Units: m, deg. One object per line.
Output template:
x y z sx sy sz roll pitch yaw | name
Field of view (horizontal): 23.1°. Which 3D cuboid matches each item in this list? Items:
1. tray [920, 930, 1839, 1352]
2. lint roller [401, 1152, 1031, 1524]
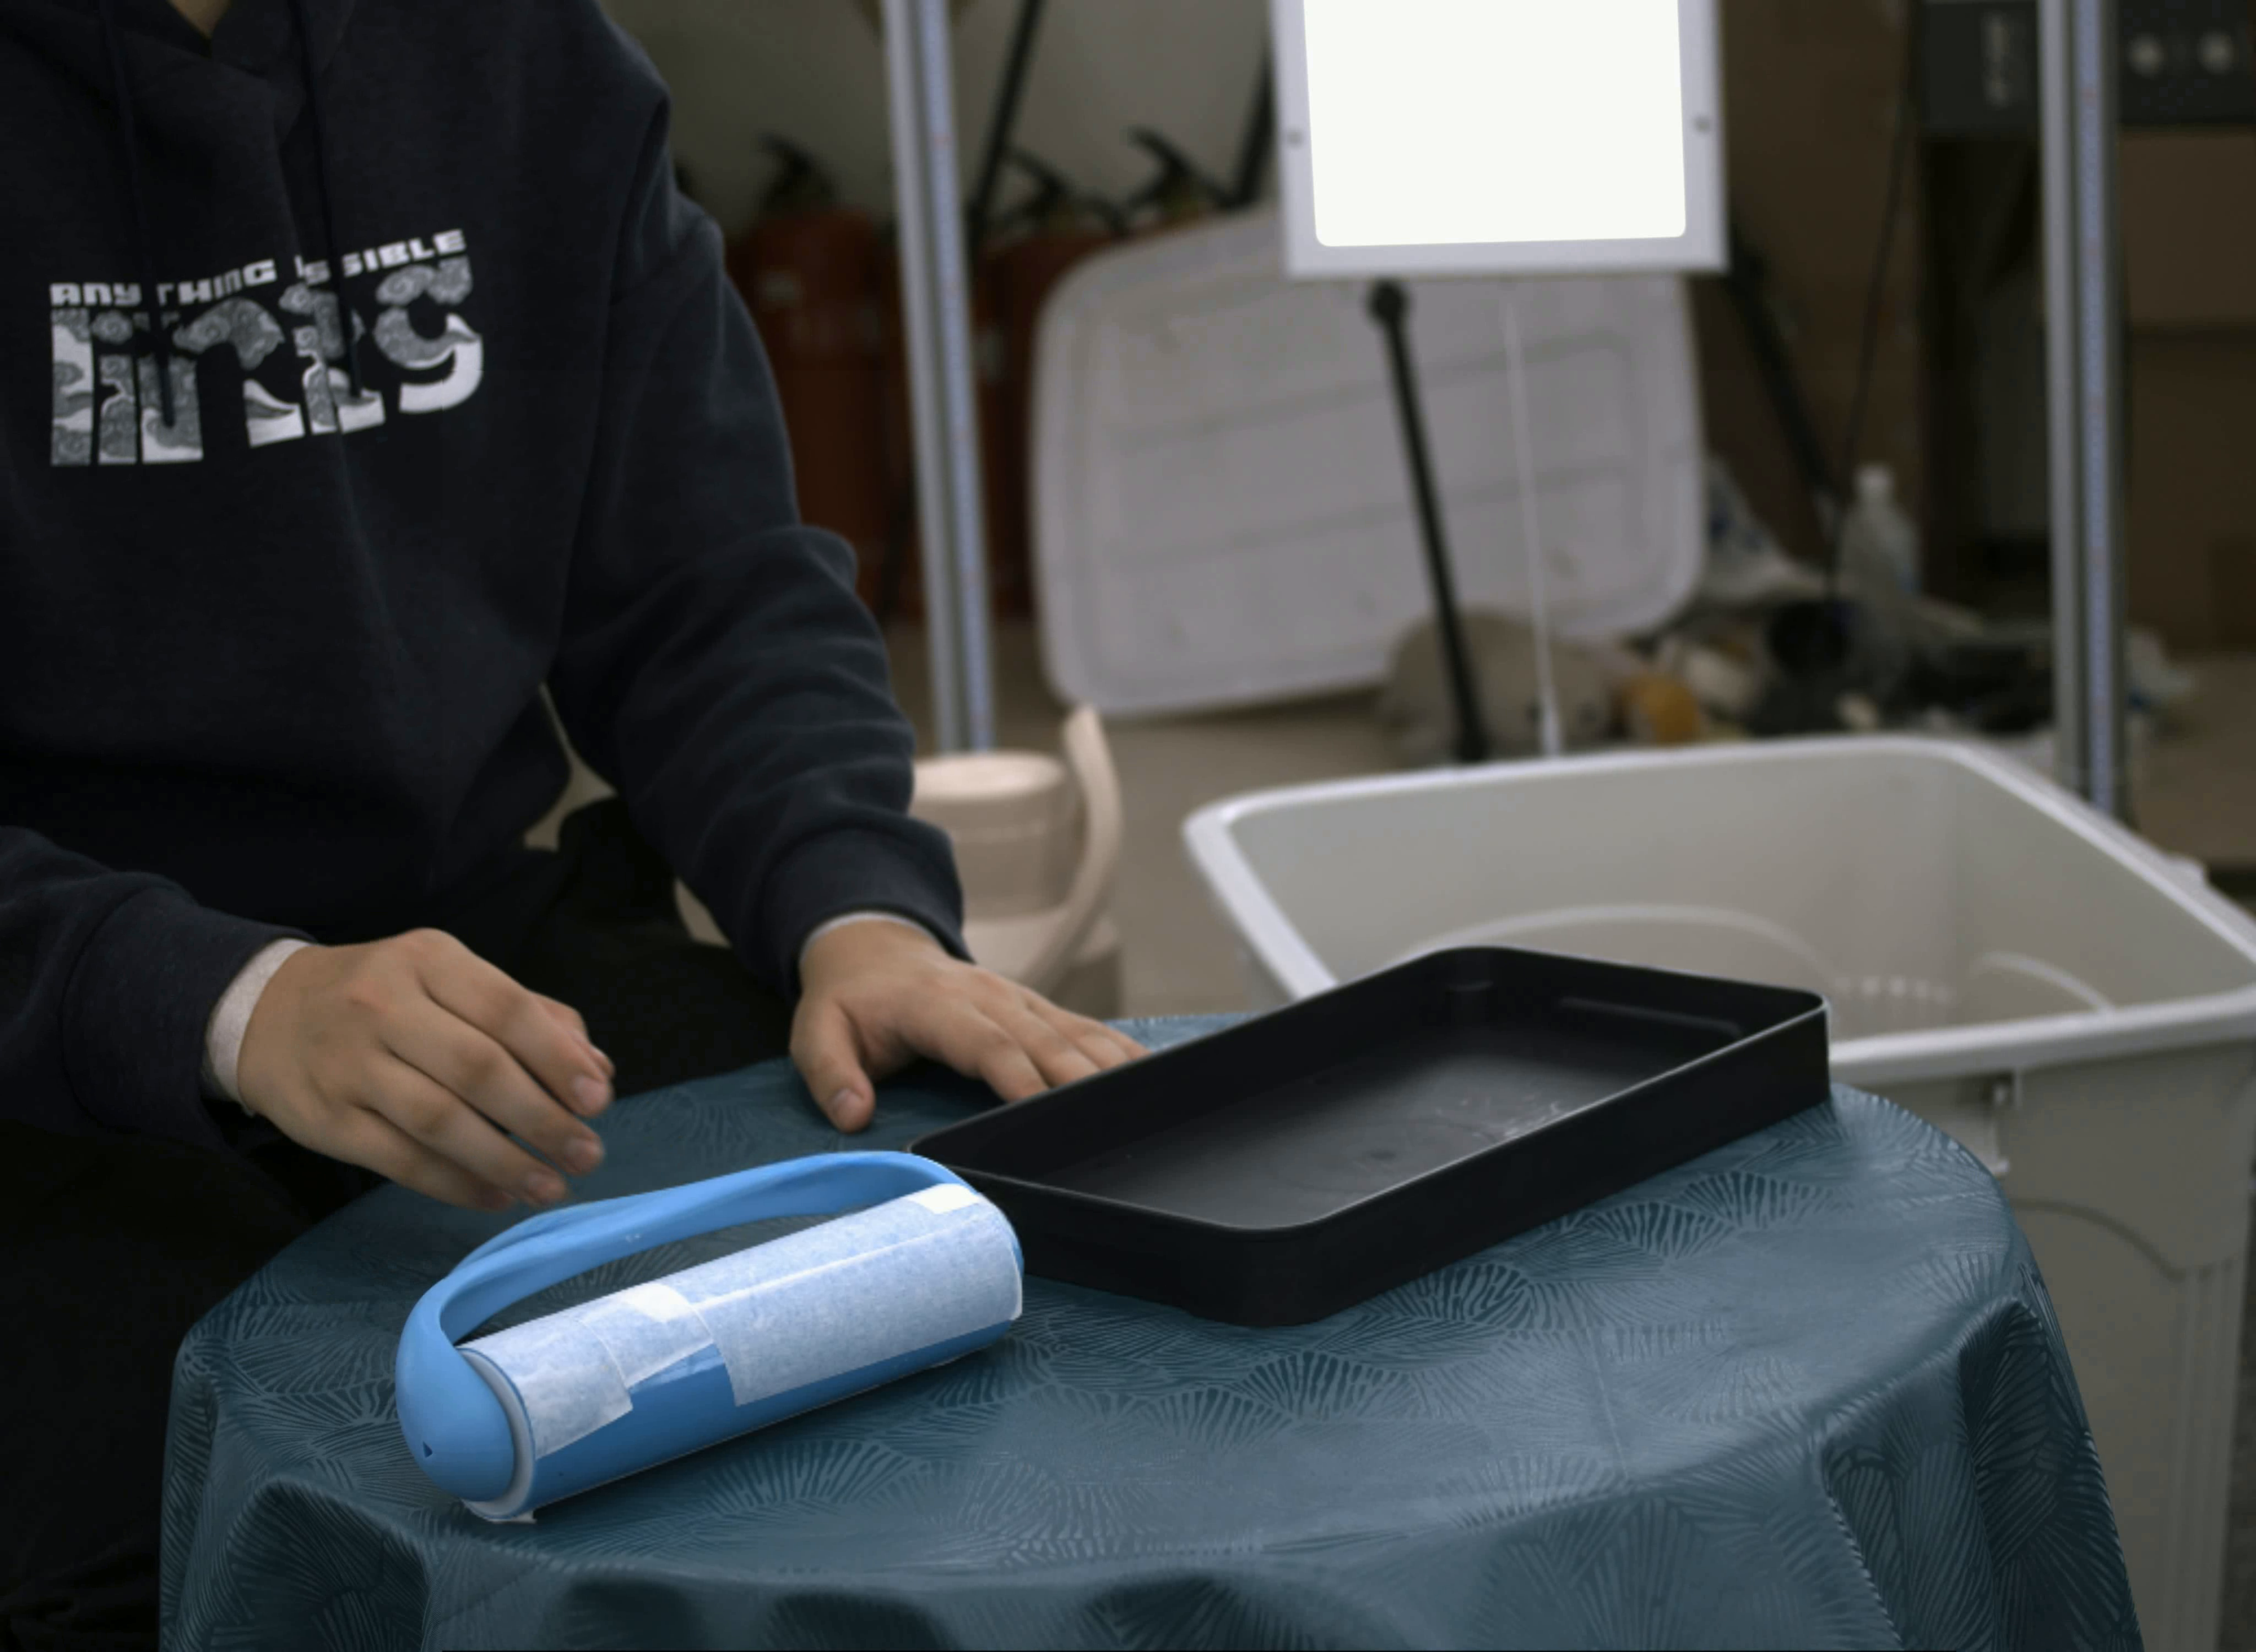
0.091 0.103 1.901 0.188 0.037 0.310 7 21 43 | tray
-0.162 0.150 1.732 0.223 0.068 0.184 -19 21 -40 | lint roller
